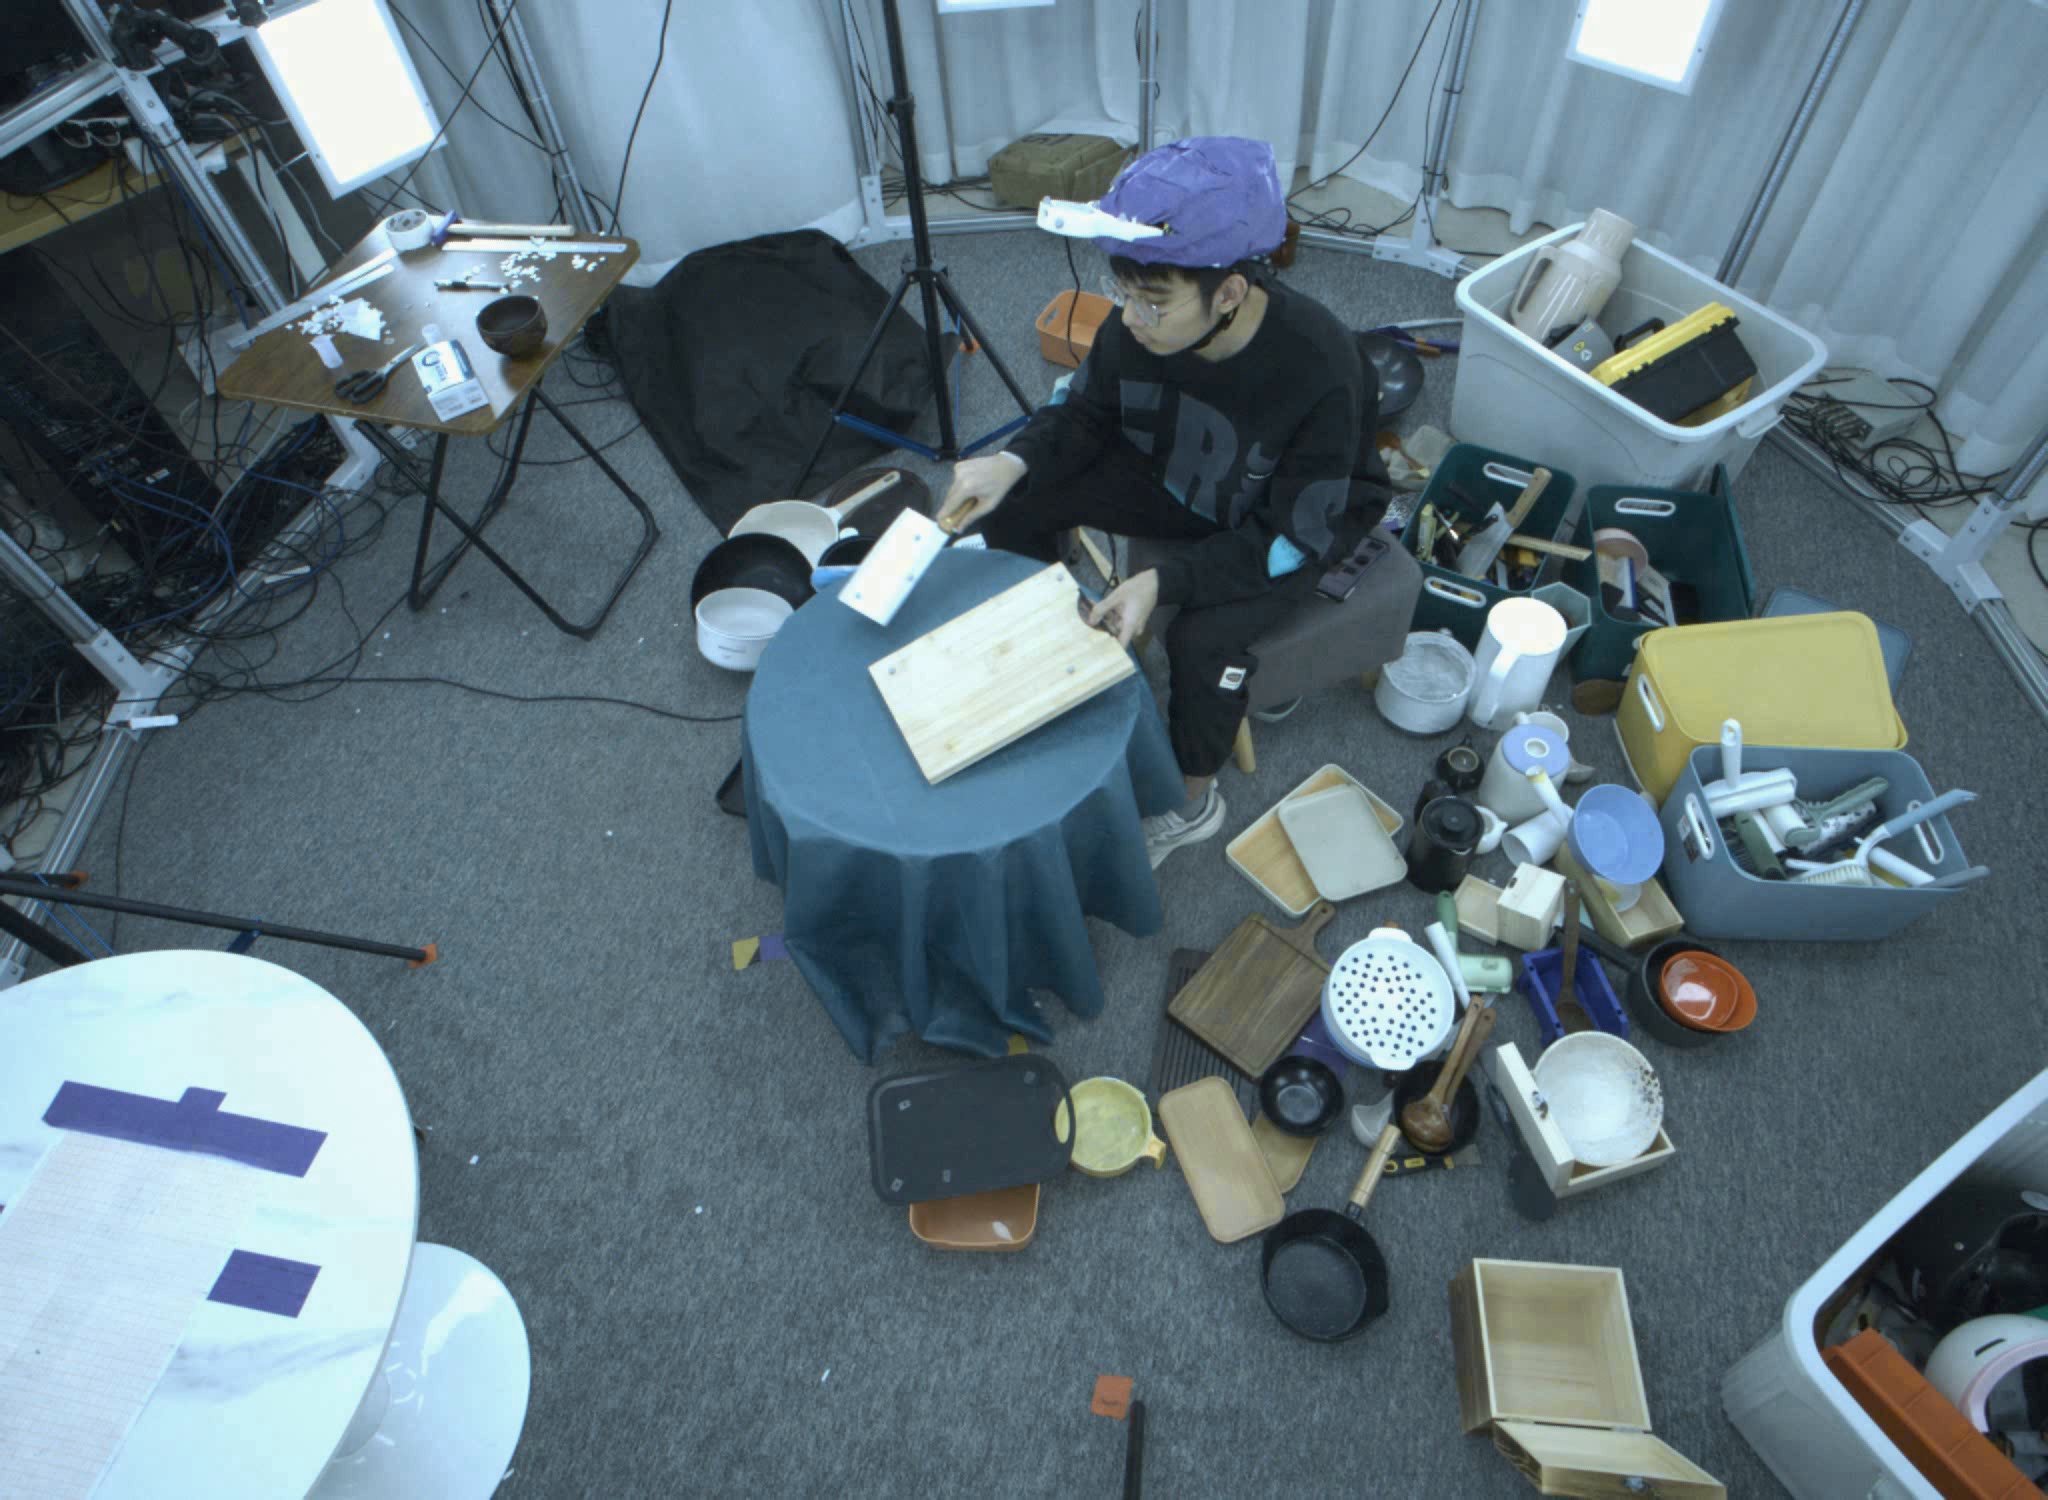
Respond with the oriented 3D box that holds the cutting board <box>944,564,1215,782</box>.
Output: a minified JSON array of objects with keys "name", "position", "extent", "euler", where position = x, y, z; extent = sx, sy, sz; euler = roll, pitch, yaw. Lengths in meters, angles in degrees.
[{"name":"cutting board","position":[0.073,-0.119,1.818],"extent":[0.349,0.024,0.246],"euler":[-26,57,-2]}]

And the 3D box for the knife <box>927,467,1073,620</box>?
[{"name":"knife","position":[-0.042,-0.338,1.915],"extent":[0.092,0.021,0.306],"euler":[34,78,12]}]
